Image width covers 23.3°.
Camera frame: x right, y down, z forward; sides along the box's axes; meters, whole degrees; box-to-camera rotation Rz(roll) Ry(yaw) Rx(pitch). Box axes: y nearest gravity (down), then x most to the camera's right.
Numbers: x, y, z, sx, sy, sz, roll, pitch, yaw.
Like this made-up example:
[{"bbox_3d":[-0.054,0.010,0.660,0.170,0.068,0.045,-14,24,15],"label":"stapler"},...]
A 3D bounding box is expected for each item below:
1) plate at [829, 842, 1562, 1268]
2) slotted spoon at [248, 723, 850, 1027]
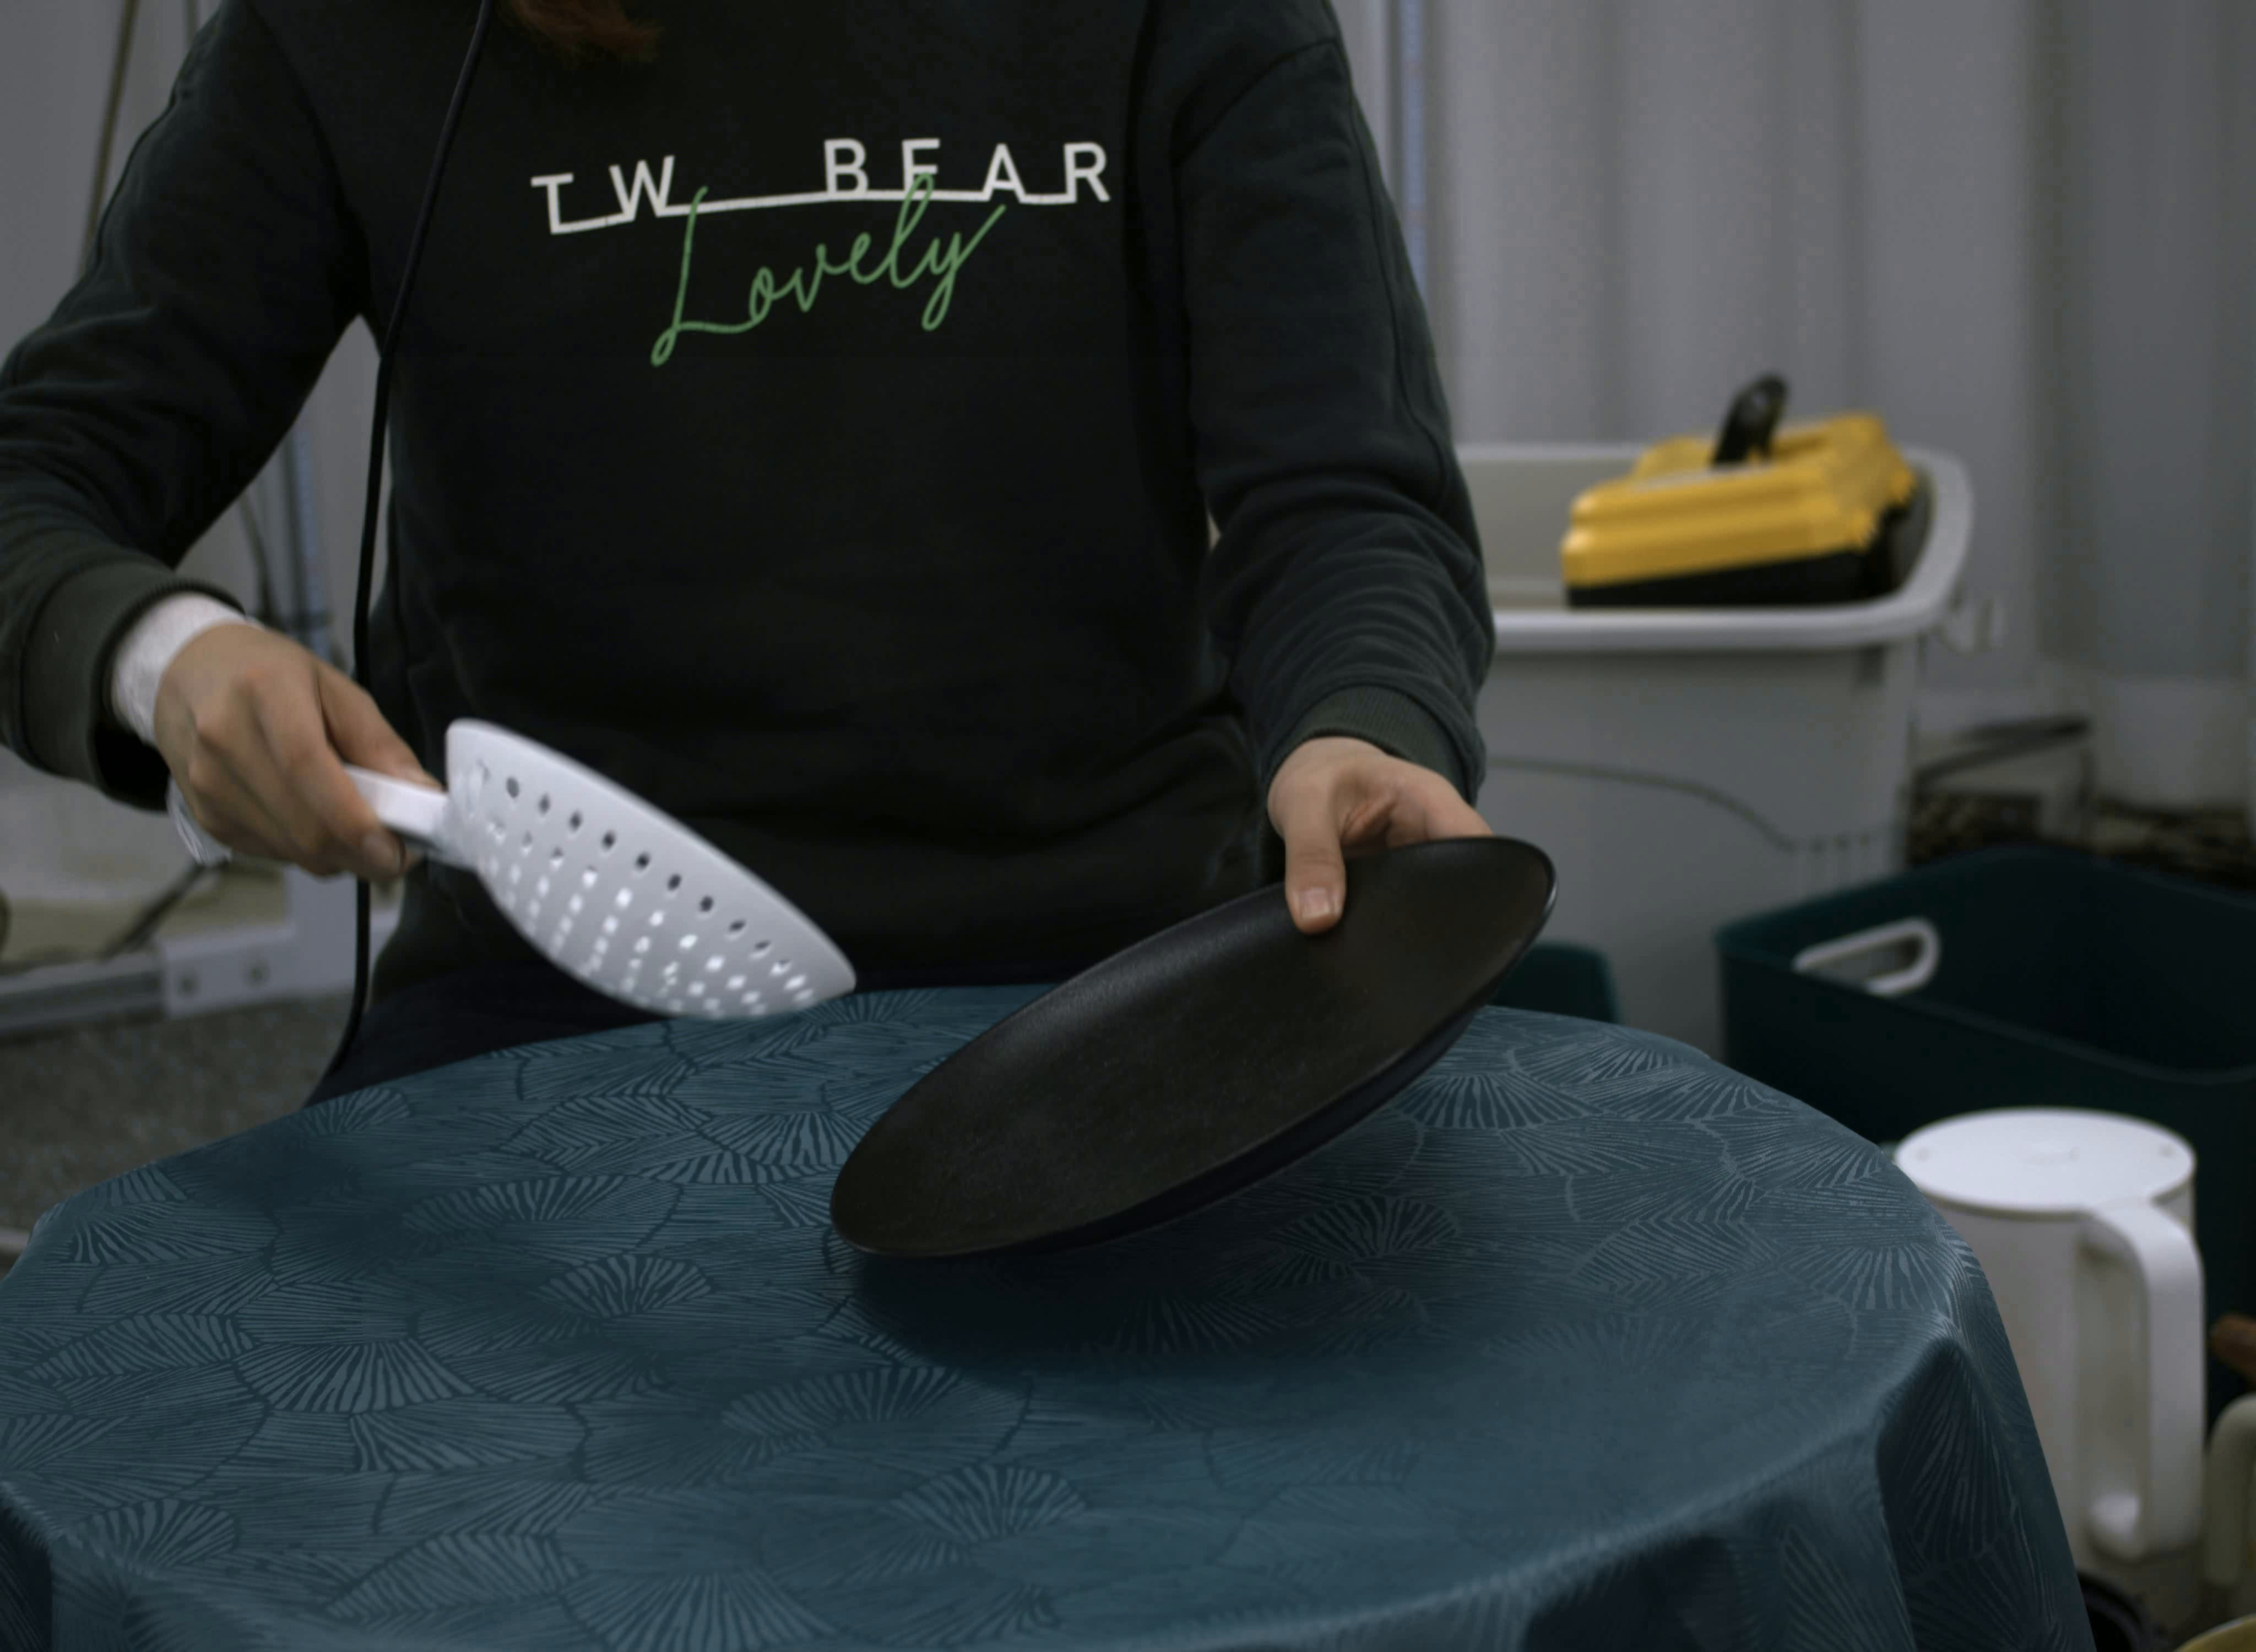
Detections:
[{"bbox_3d":[0.023,0.074,1.644,0.244,0.023,0.246,-25,14,6],"label":"plate"},{"bbox_3d":[-0.193,0.006,1.642,0.134,0.046,0.352,39,-9,-27],"label":"slotted spoon"}]
